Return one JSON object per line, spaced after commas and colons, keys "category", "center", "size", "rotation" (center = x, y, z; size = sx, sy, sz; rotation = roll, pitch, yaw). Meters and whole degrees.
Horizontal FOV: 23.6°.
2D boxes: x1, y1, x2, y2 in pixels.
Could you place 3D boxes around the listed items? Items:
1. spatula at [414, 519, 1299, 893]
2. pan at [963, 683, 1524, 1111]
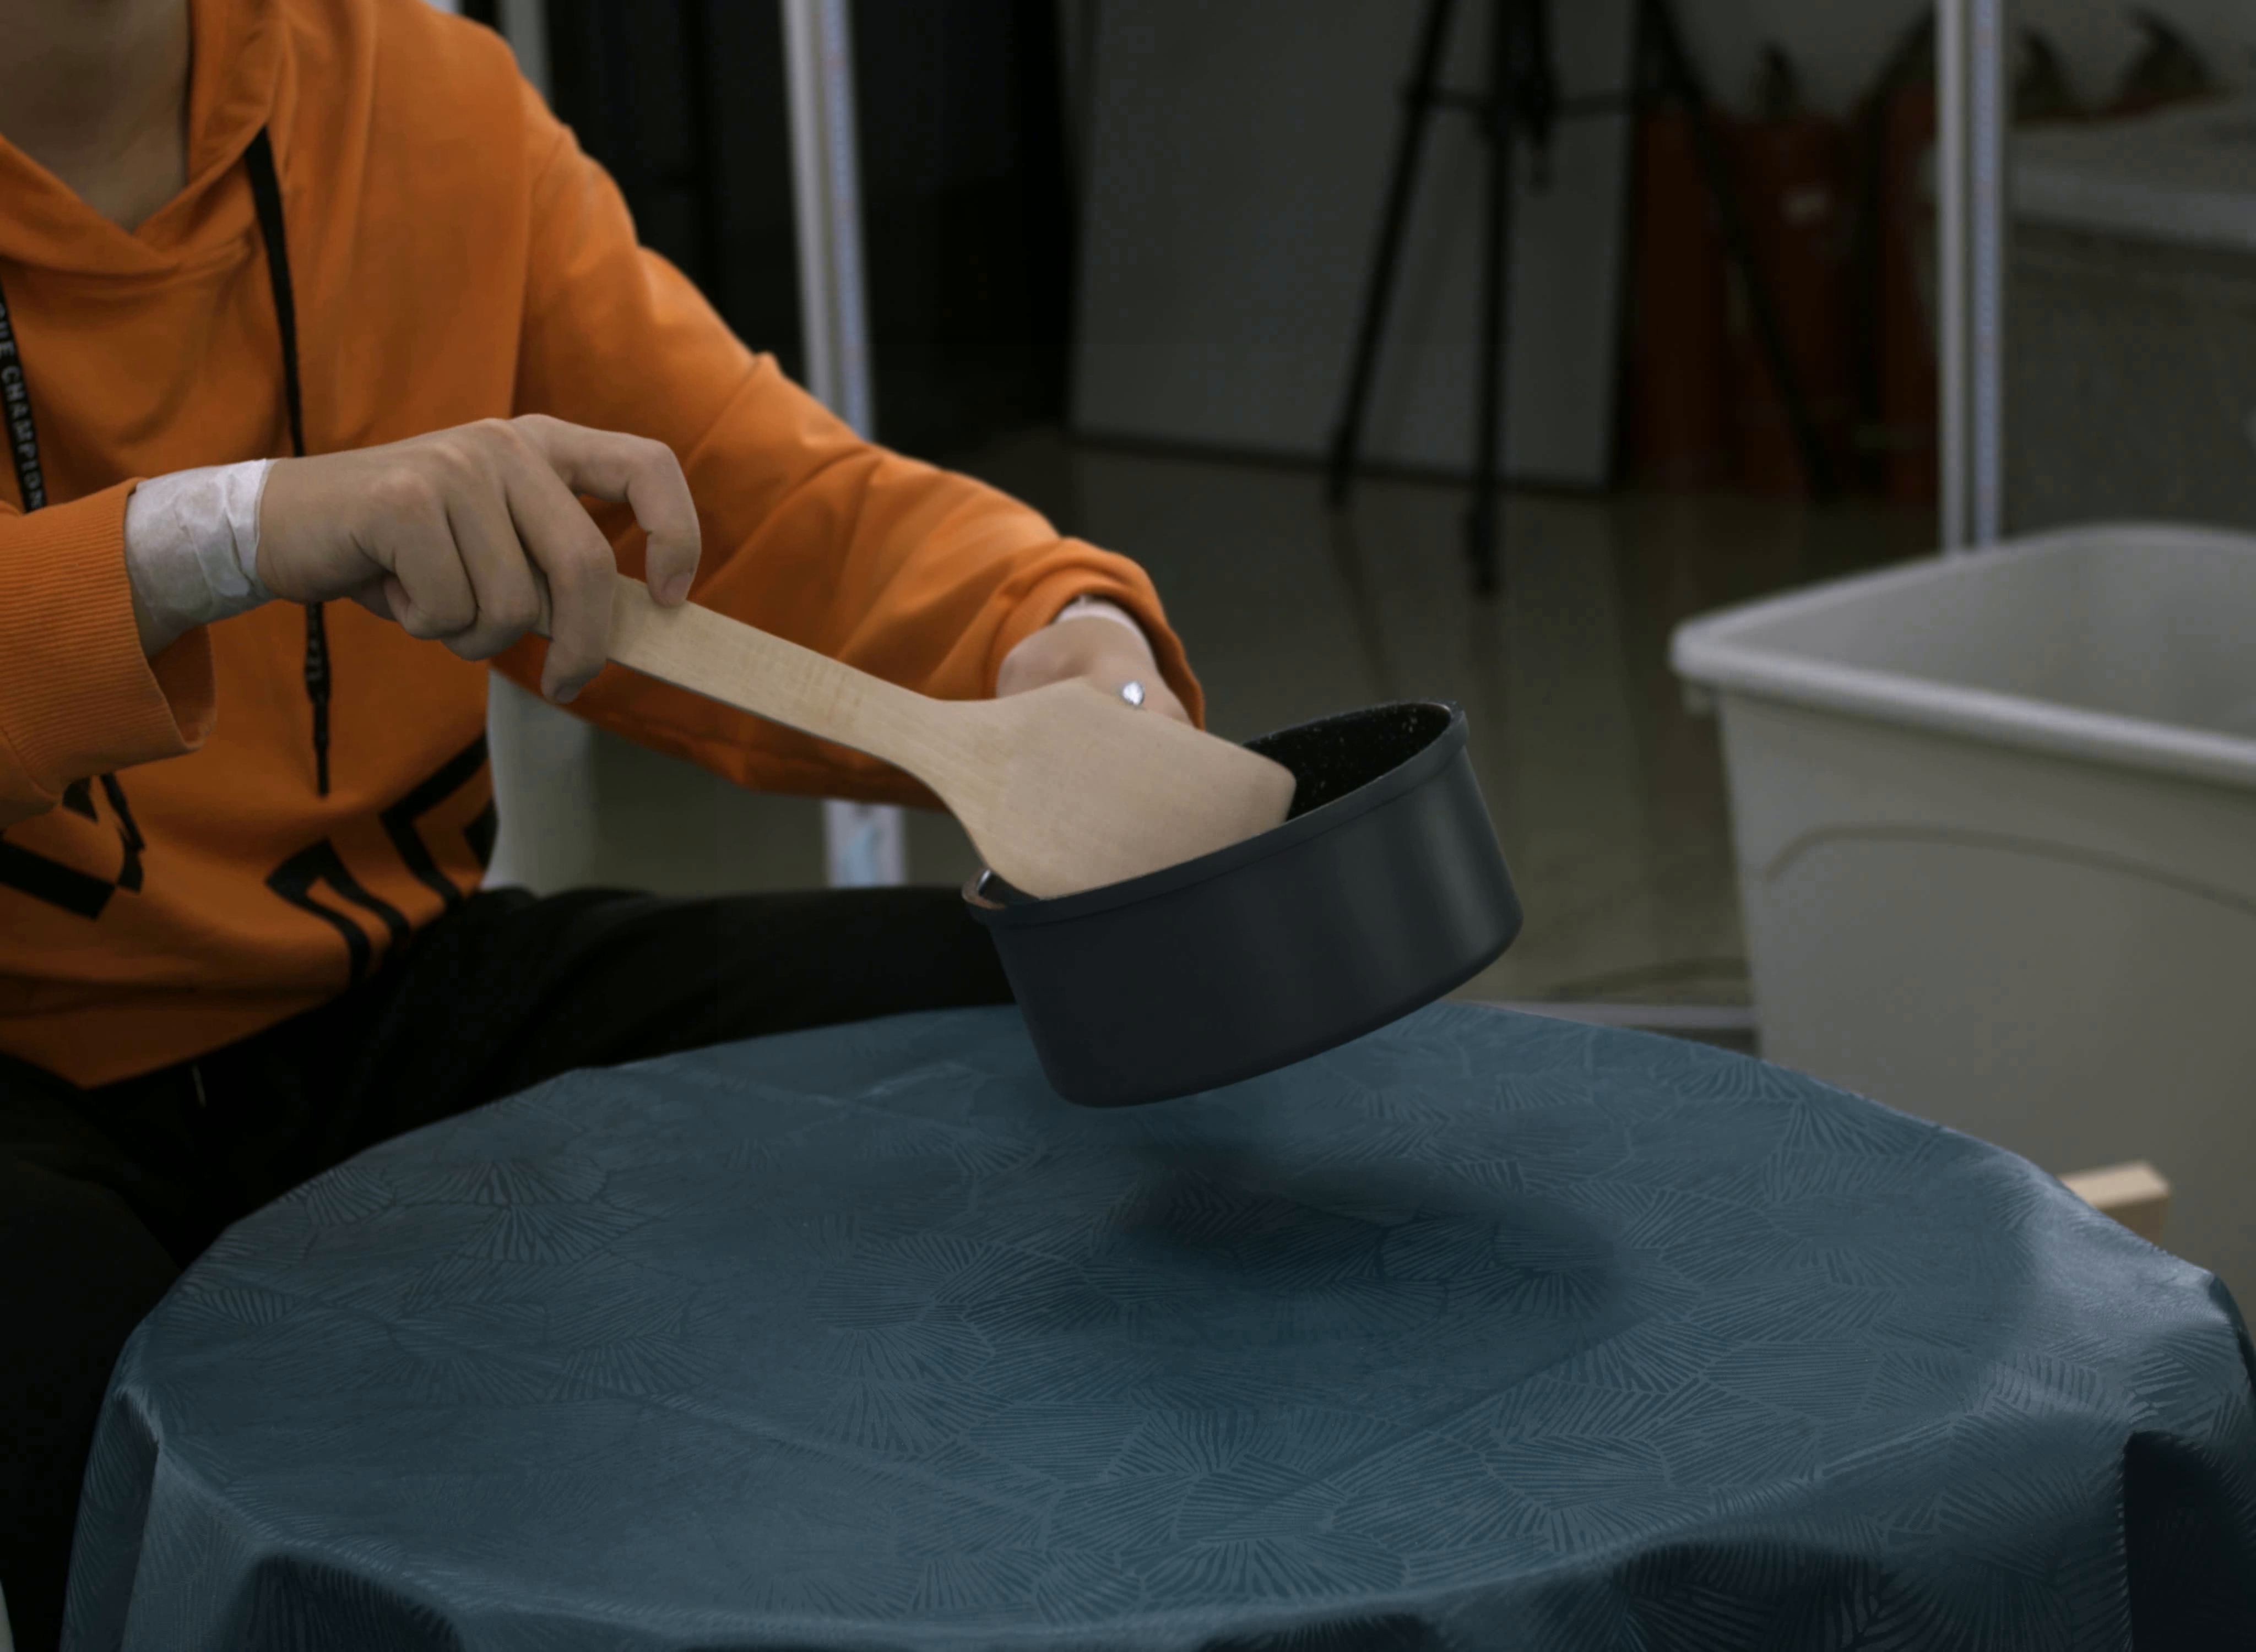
{"category": "spatula", "center": [-0.089, -0.038, 1.717], "size": [0.290, 0.073, 0.010], "rotation": [21, -8, 3]}
{"category": "pan", "center": [0.020, 0.014, 1.791], "size": [0.169, 0.087, 0.331], "rotation": [-22, 11, -10]}
